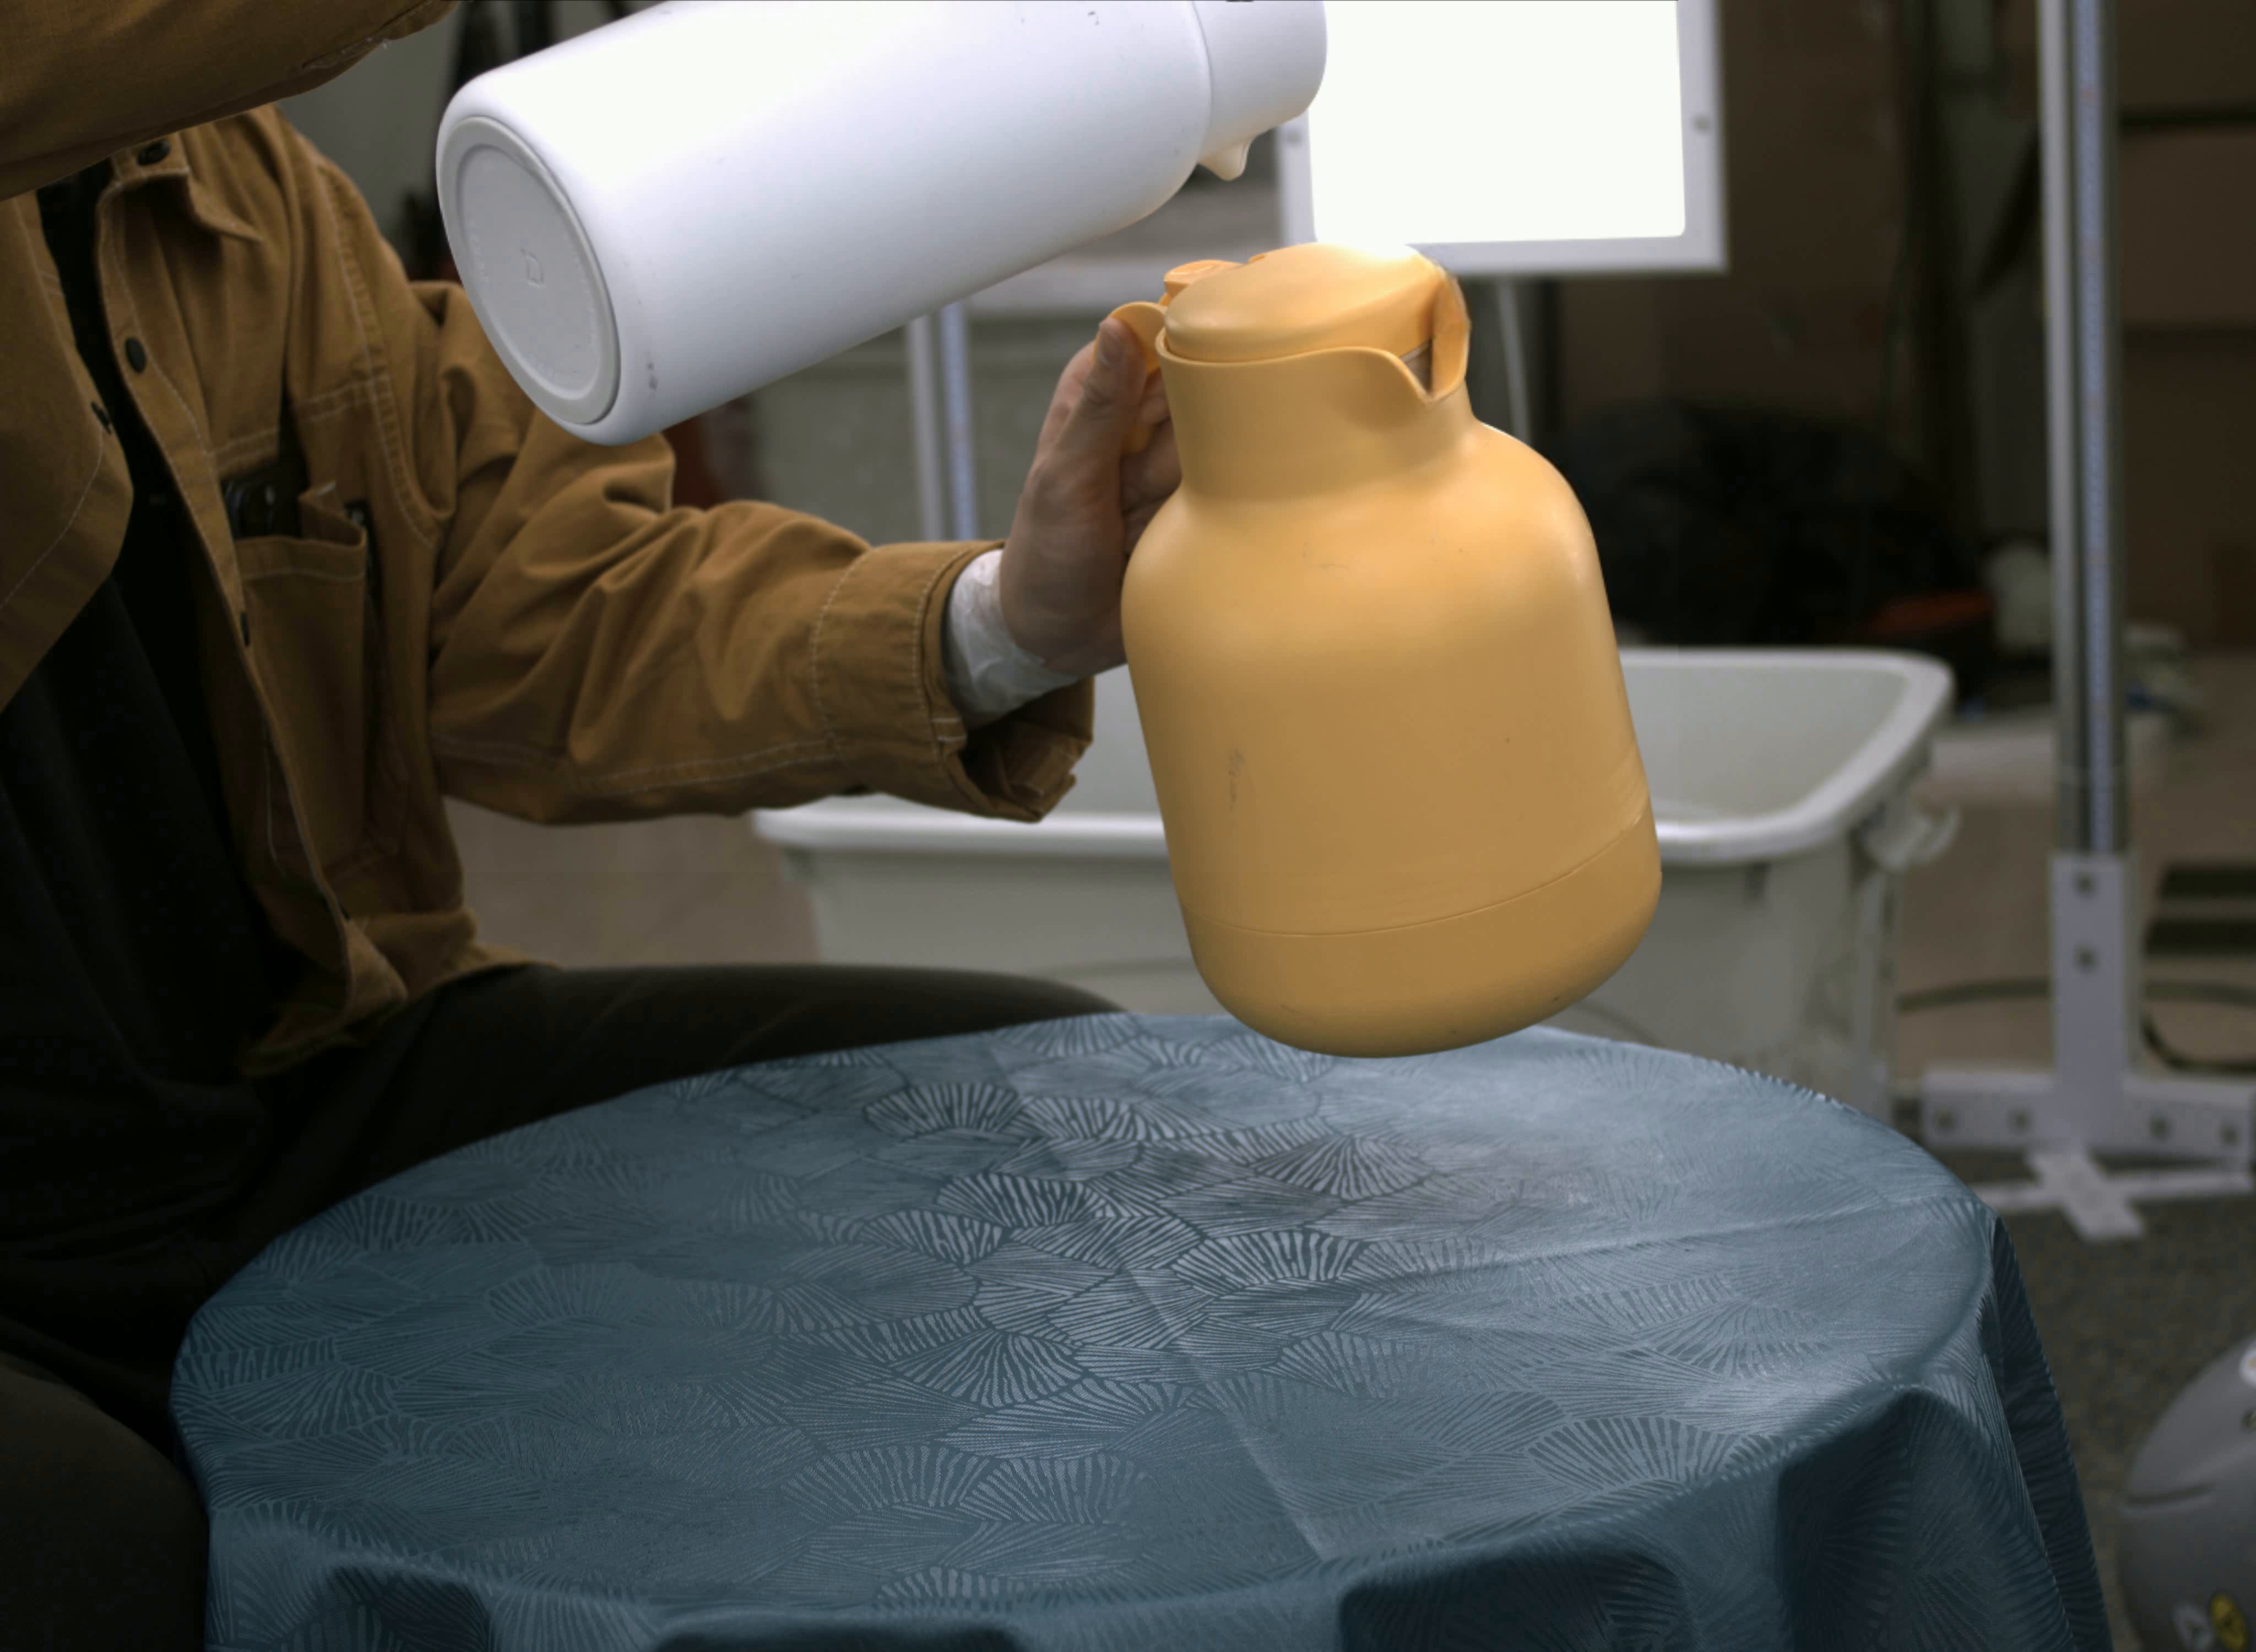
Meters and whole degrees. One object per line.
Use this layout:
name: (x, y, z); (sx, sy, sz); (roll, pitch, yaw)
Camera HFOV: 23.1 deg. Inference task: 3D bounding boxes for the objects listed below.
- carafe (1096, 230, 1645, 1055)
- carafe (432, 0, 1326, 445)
carafe: (0.068, -0.070, 1.836); (0.160, 0.261, 0.206); (-21, 24, -26)
carafe: (-0.073, -0.231, 1.671); (0.264, 0.173, 0.125); (-25, 42, -23)
